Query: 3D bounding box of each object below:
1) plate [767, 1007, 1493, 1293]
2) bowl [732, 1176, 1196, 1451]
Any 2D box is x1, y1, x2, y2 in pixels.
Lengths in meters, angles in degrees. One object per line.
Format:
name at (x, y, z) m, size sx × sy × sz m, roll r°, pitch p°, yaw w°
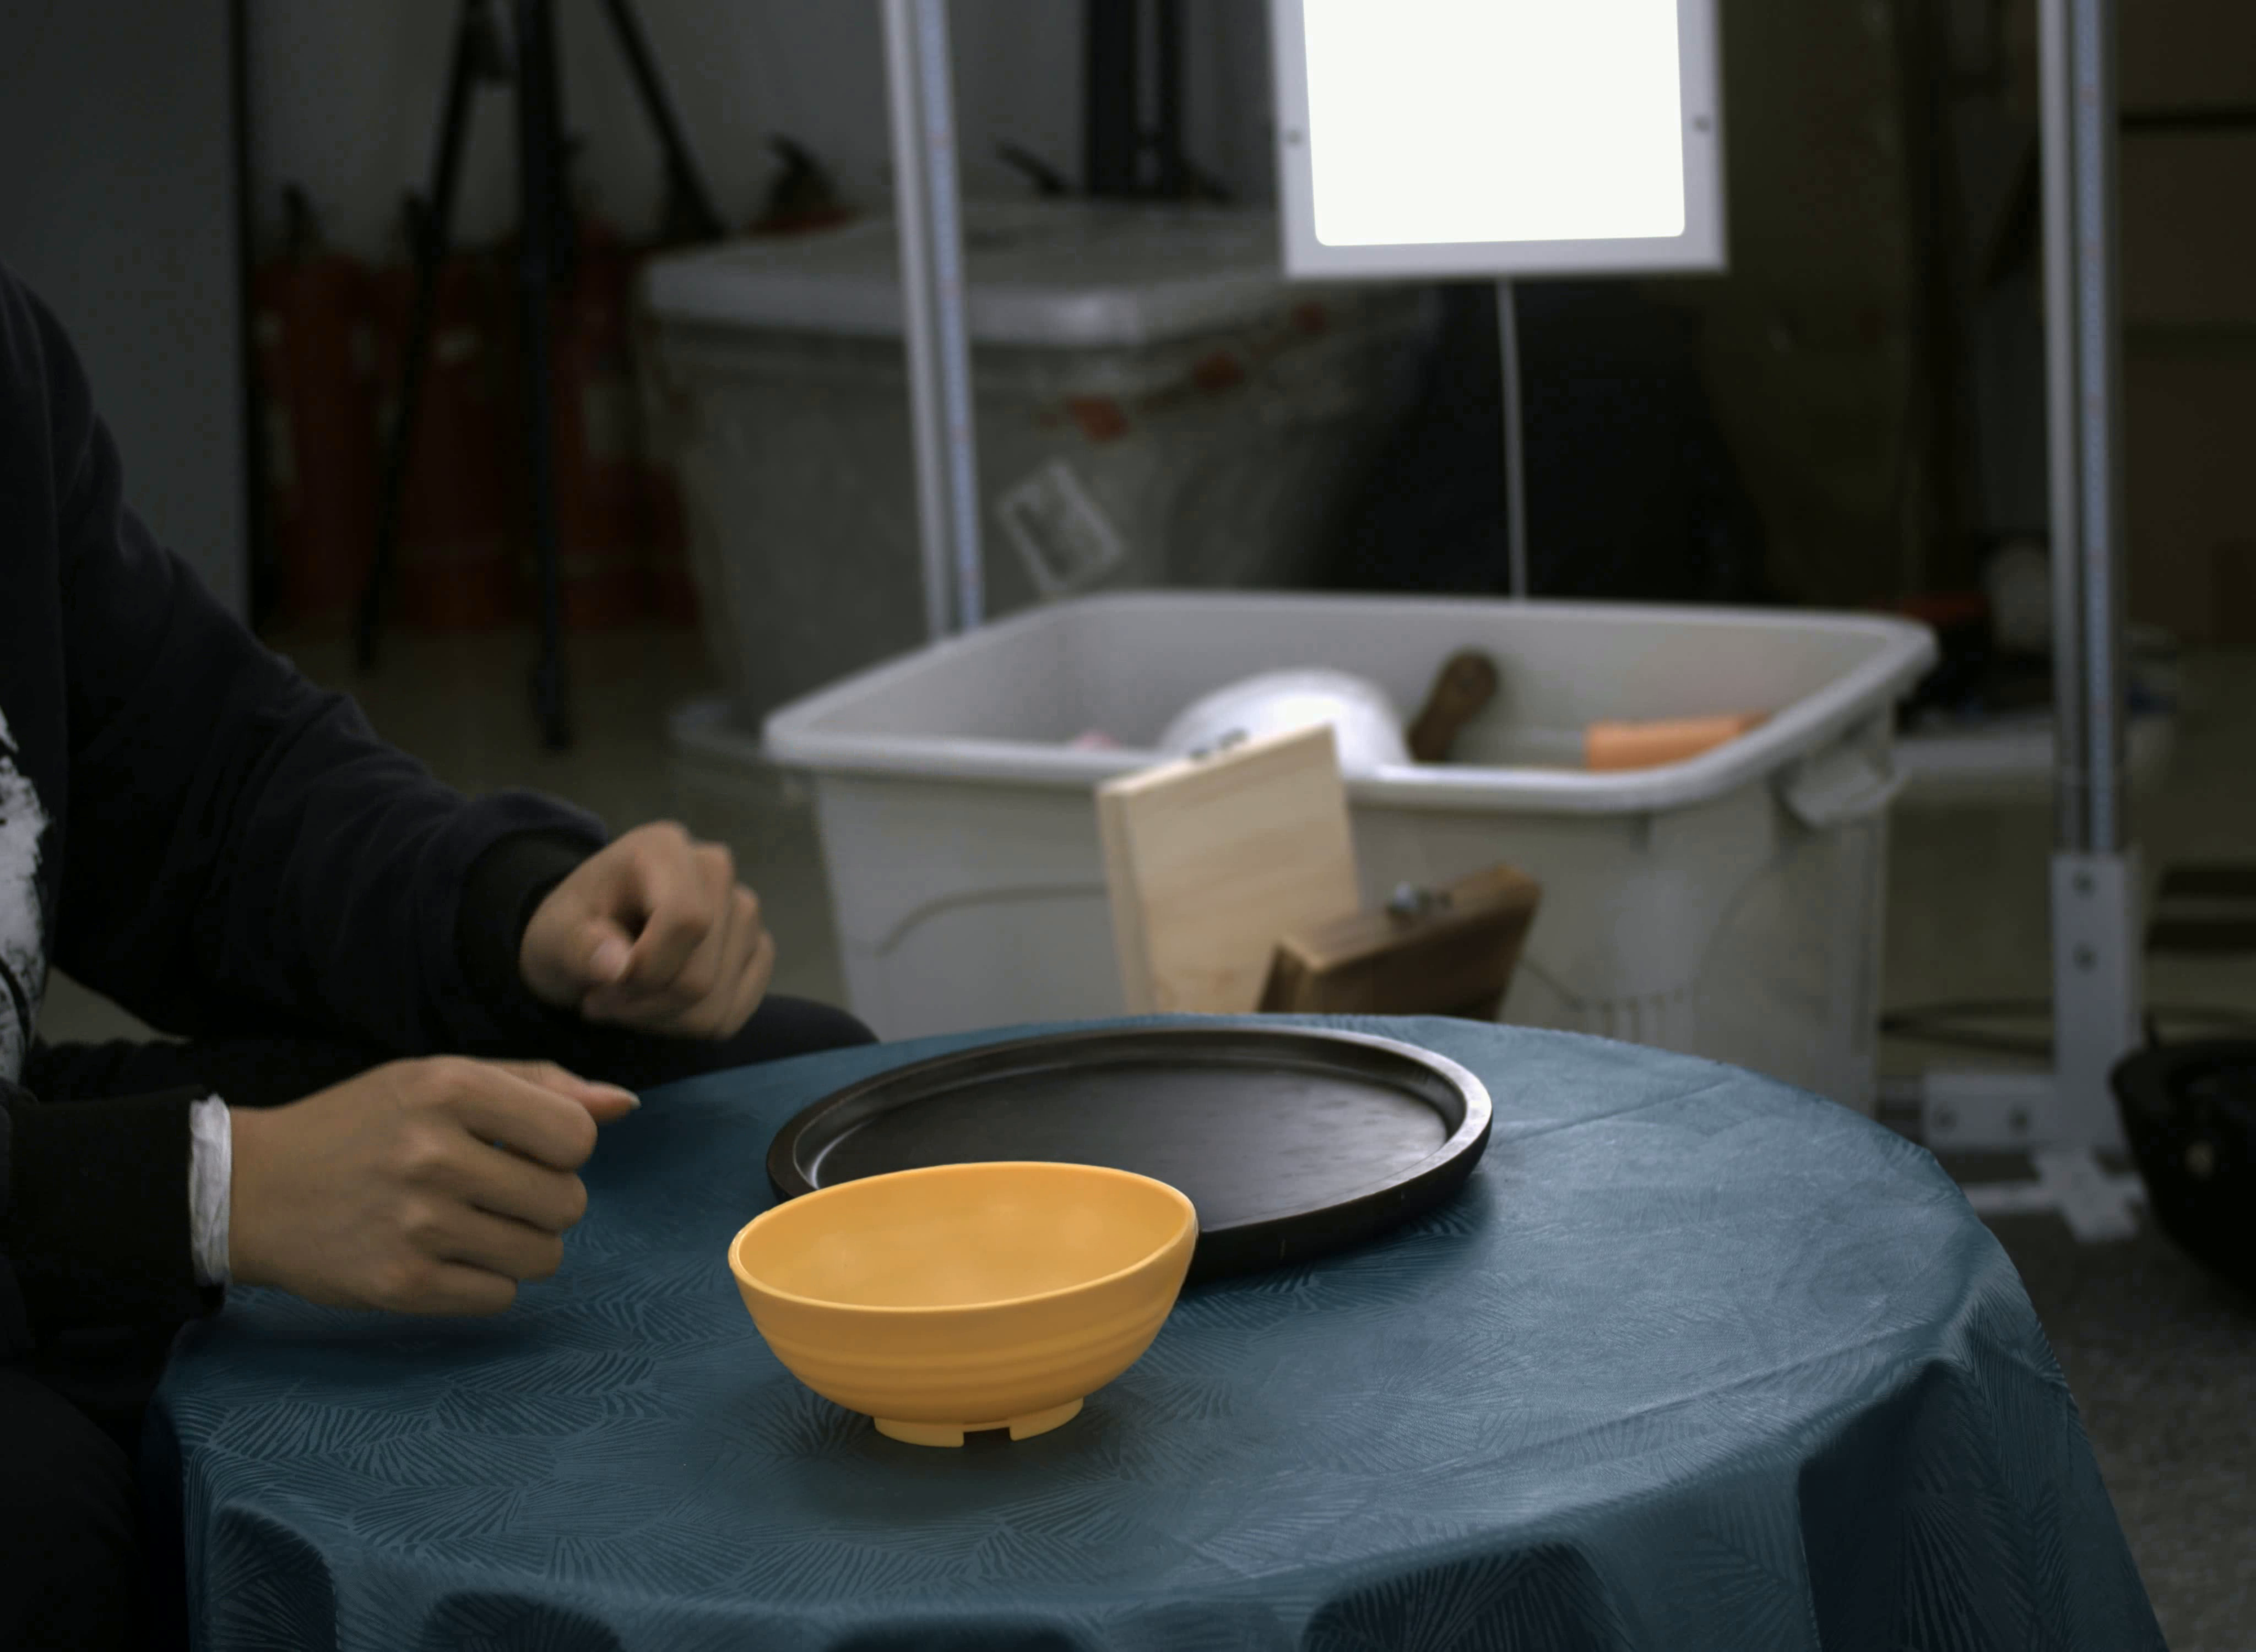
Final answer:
plate at (0.001, 0.113, 1.904) m, size 0.254 × 0.029 × 0.254 m, roll -6°, pitch 15°, yaw 0°
bowl at (-0.047, 0.153, 1.688) m, size 0.145 × 0.060 × 0.145 m, roll -6°, pitch 11°, yaw 0°
